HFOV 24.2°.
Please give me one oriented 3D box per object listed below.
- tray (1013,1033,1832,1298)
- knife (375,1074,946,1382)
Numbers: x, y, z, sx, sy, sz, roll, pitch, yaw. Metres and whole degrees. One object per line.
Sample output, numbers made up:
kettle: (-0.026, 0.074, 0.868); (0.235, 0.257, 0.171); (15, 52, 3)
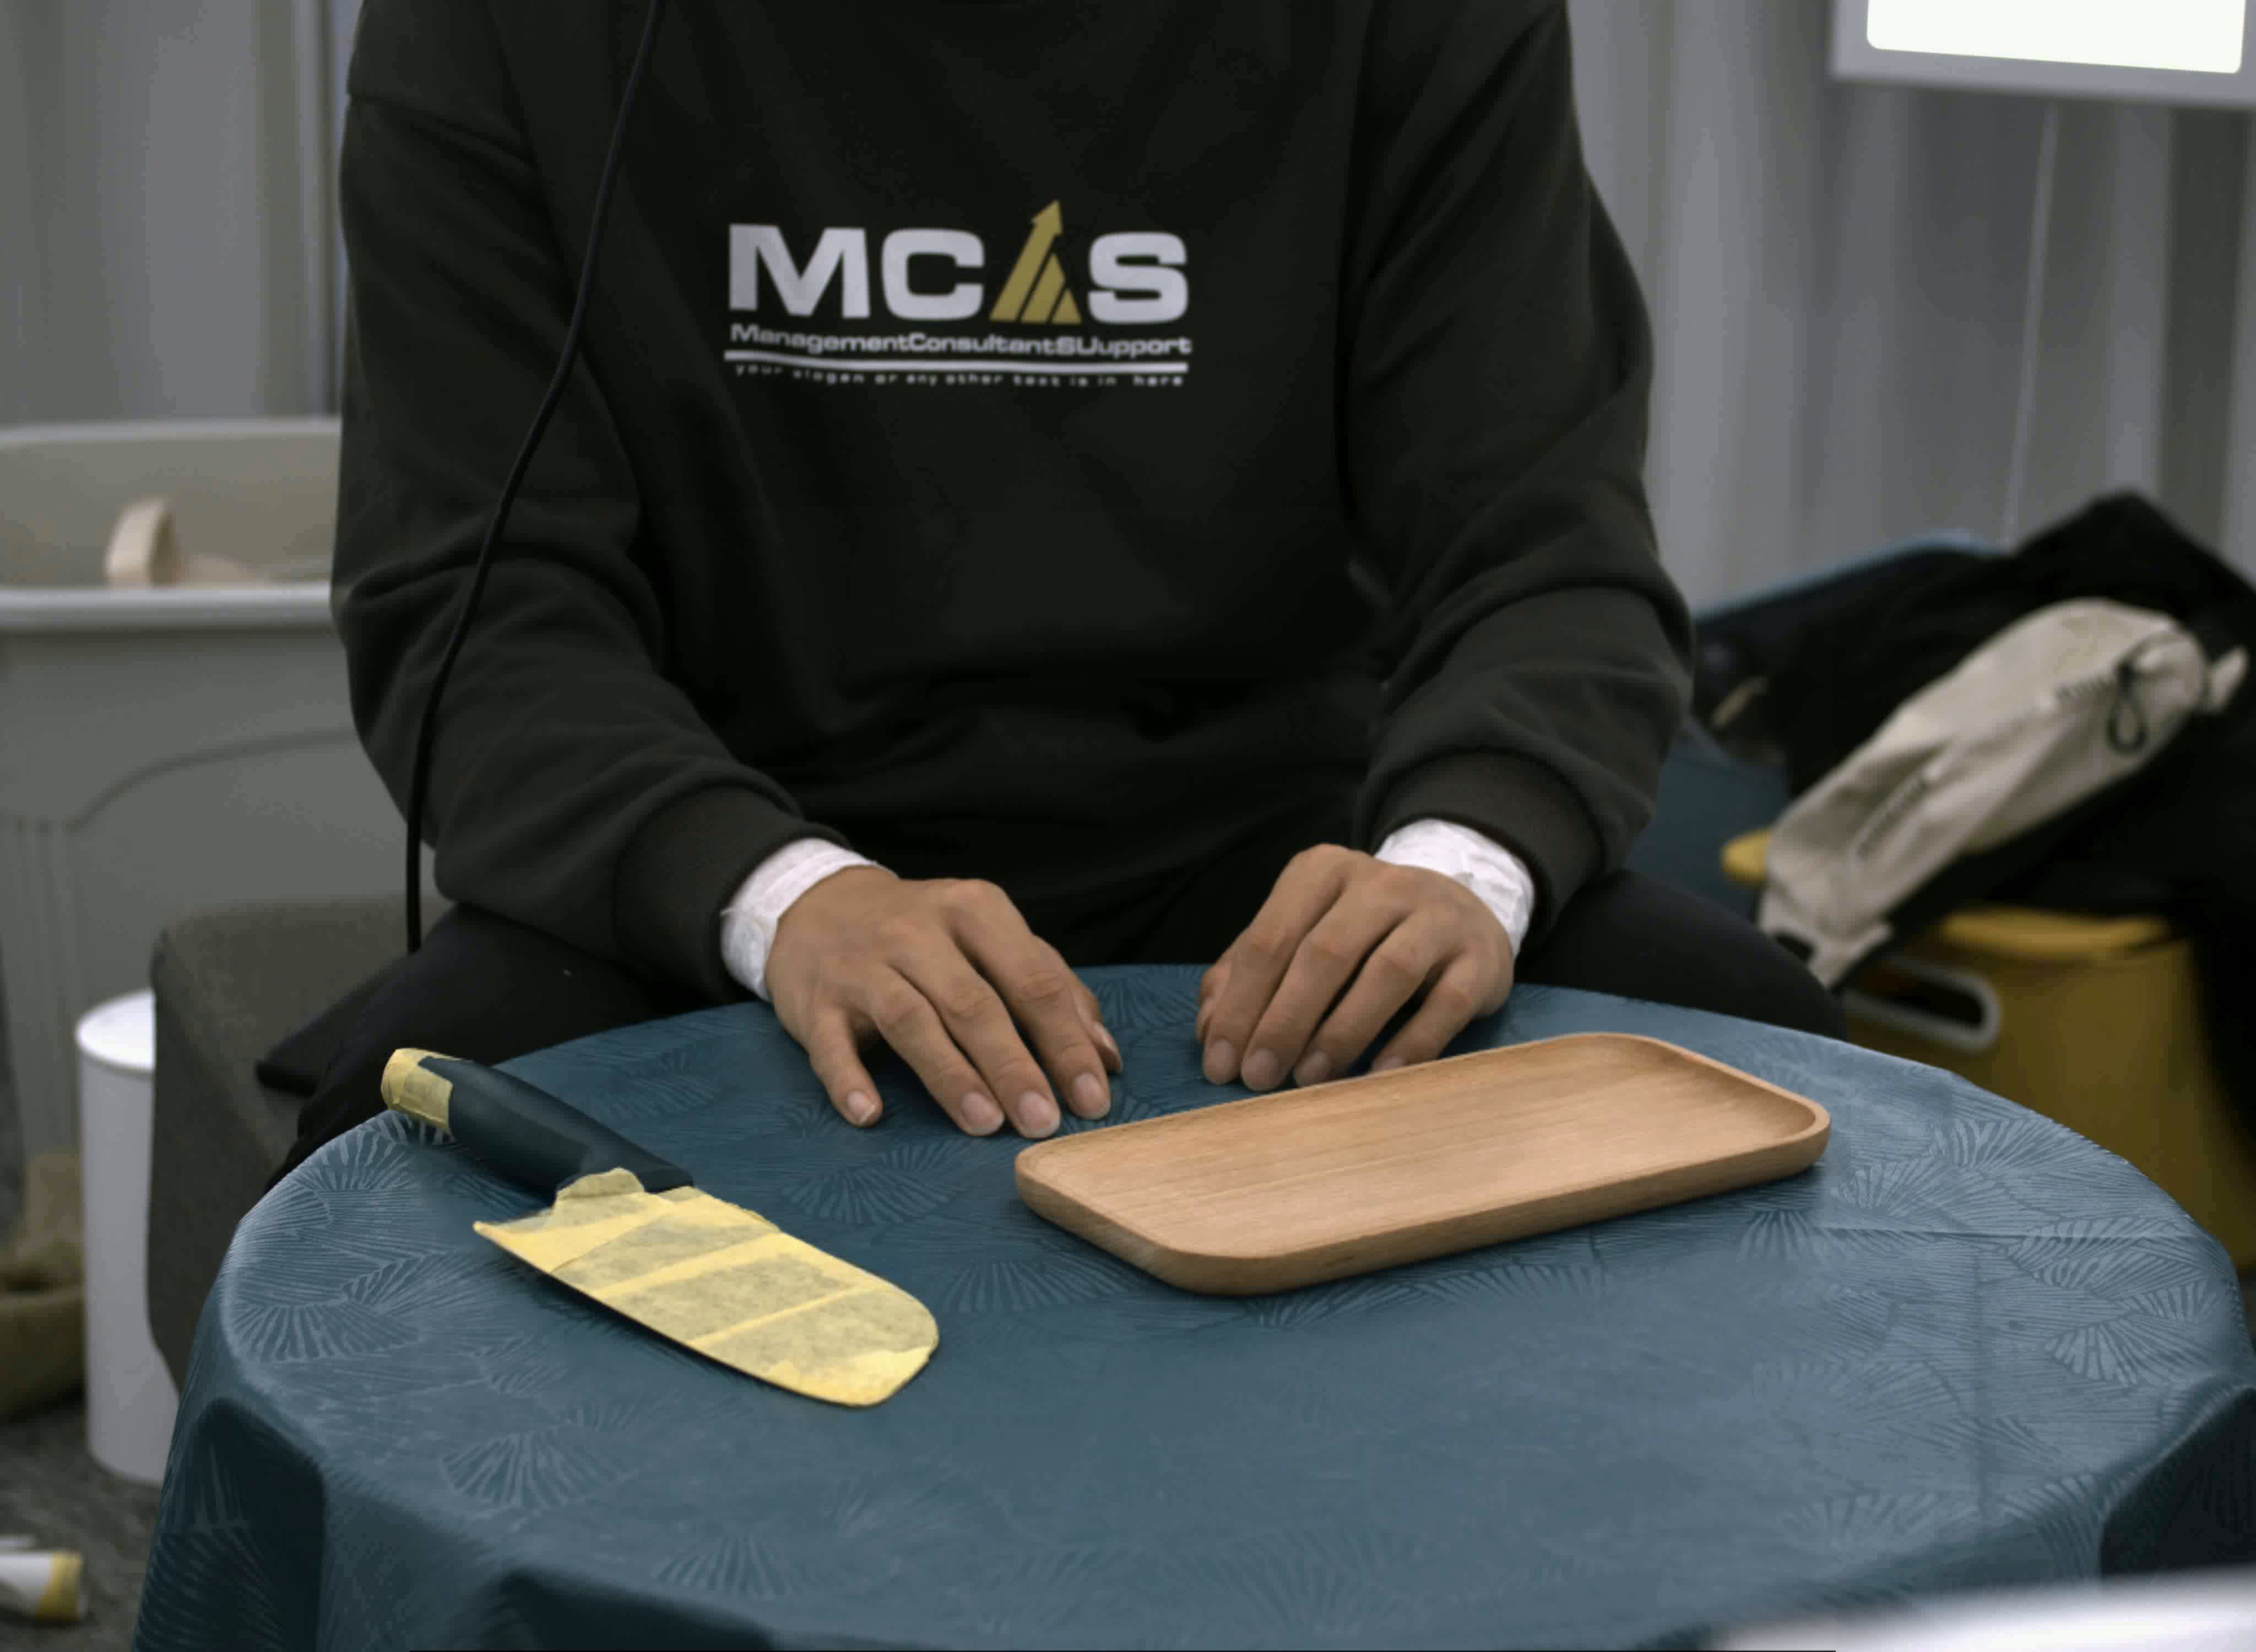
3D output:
tray: (0.093, 0.103, 1.631); (0.252, 0.023, 0.129); (-10, 16, -32)
knife: (-0.151, 0.120, 1.563); (0.081, 0.027, 0.285); (-10, 19, -38)
